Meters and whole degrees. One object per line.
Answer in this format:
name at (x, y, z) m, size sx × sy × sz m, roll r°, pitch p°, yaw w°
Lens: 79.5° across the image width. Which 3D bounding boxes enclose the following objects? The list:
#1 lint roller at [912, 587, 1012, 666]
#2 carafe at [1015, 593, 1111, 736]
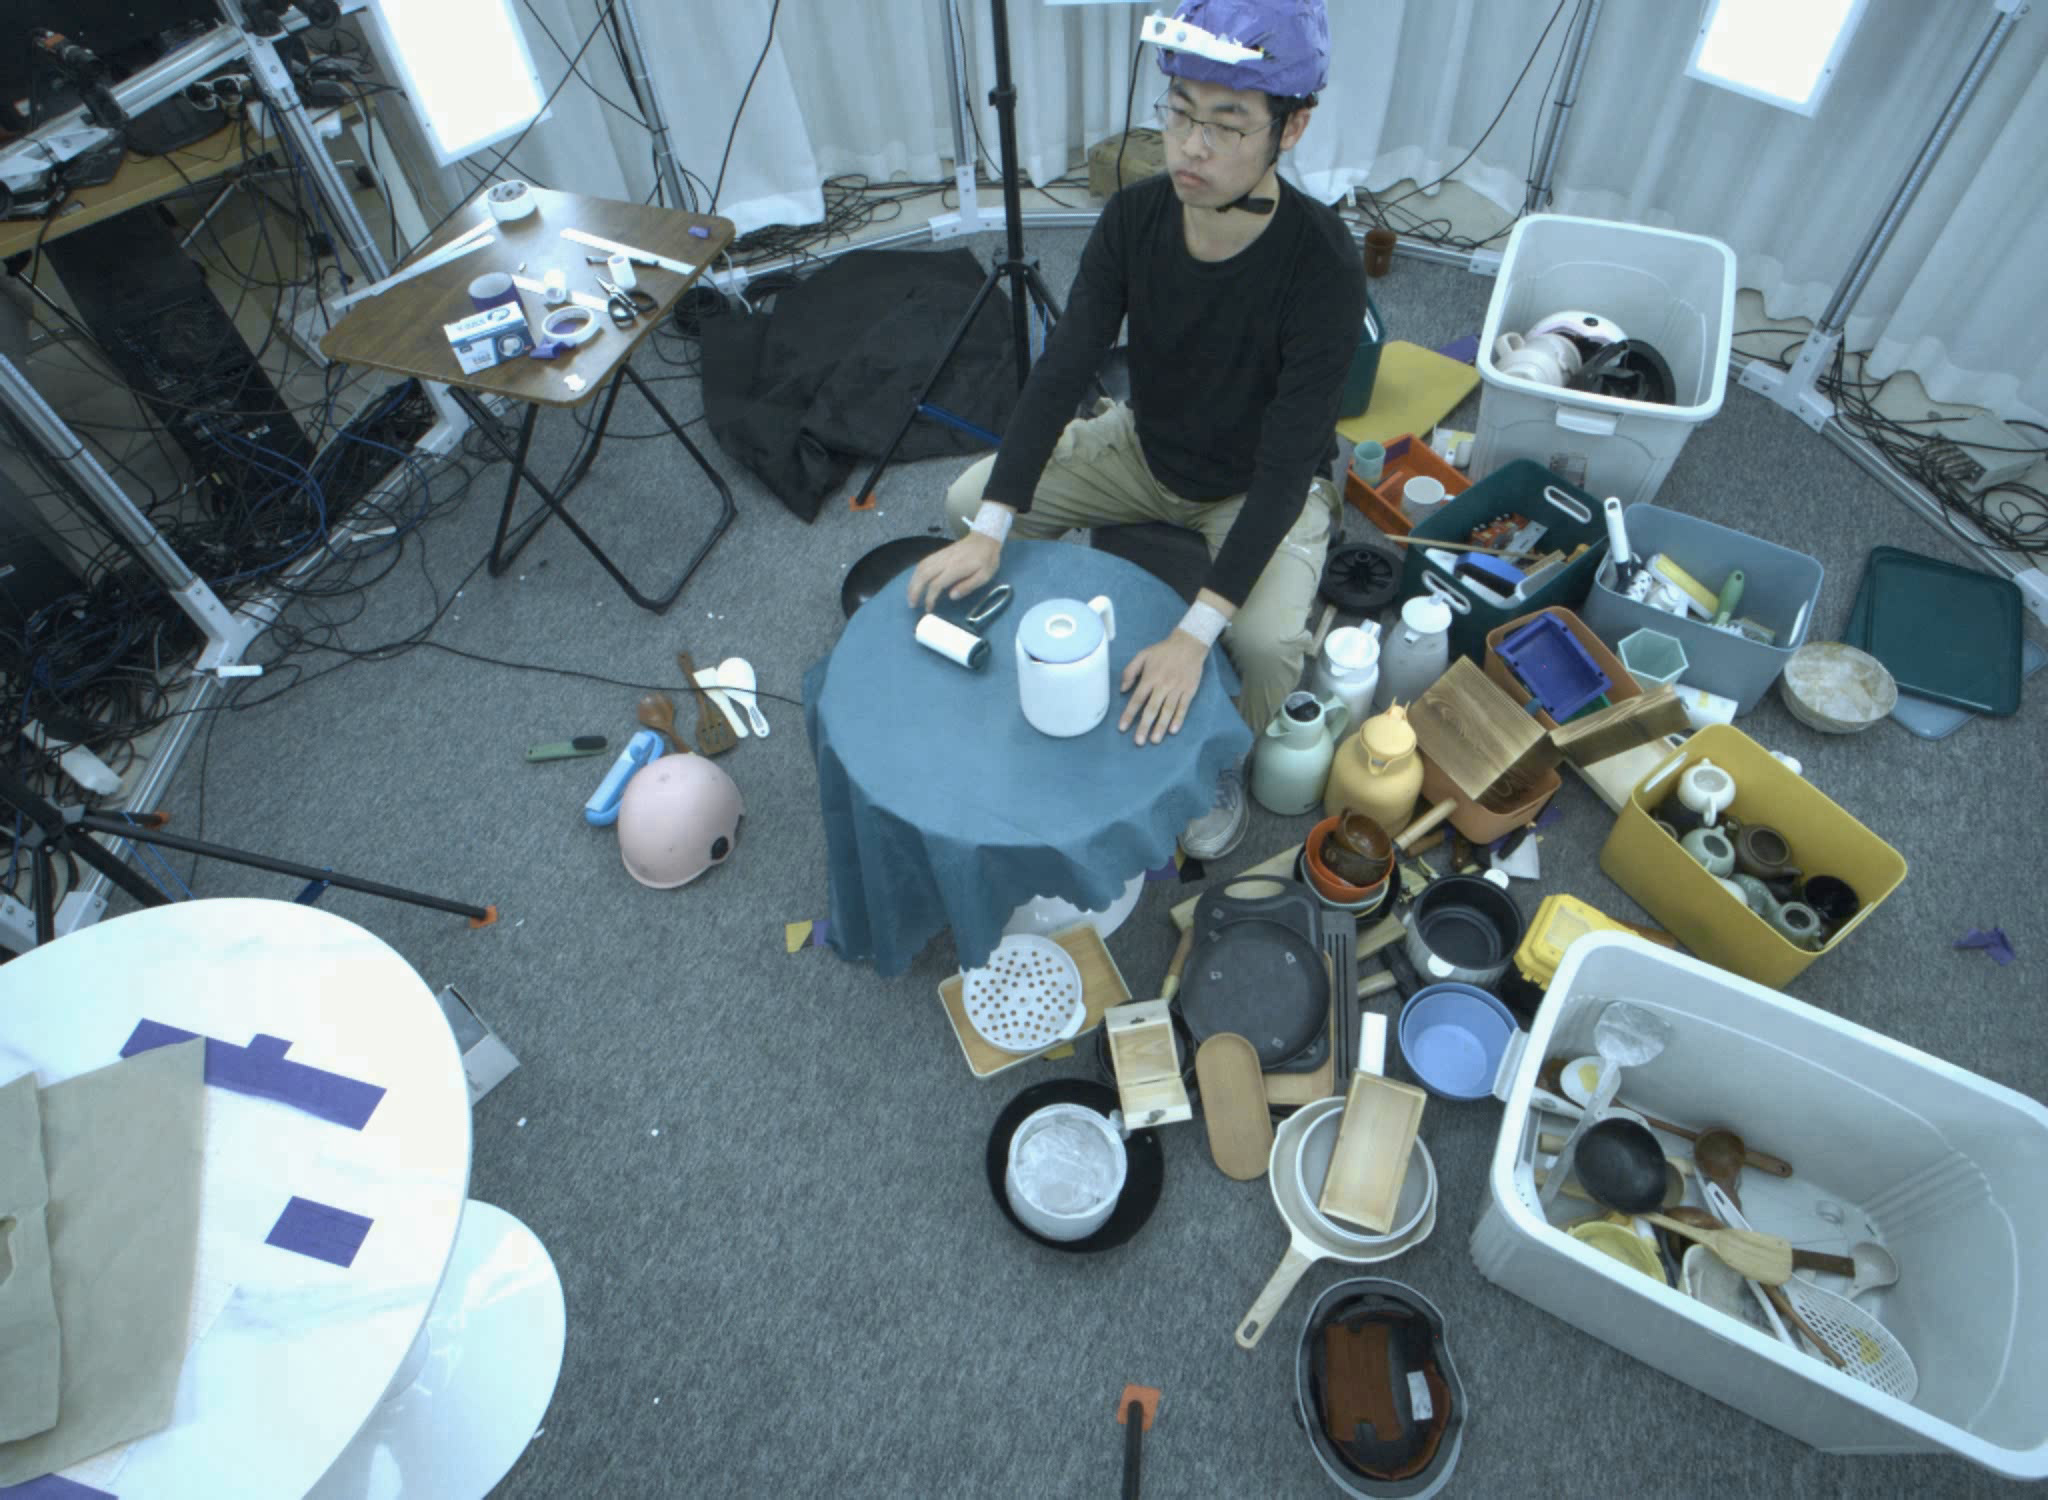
lint roller at (-0.076, -0.214, 1.915) m, size 0.132 × 0.049 × 0.181 m, roll 29°, pitch 58°, yaw 20°
carafe at (0.070, -0.134, 1.775) m, size 0.130 × 0.184 × 0.192 m, roll 29°, pitch 59°, yaw 21°
